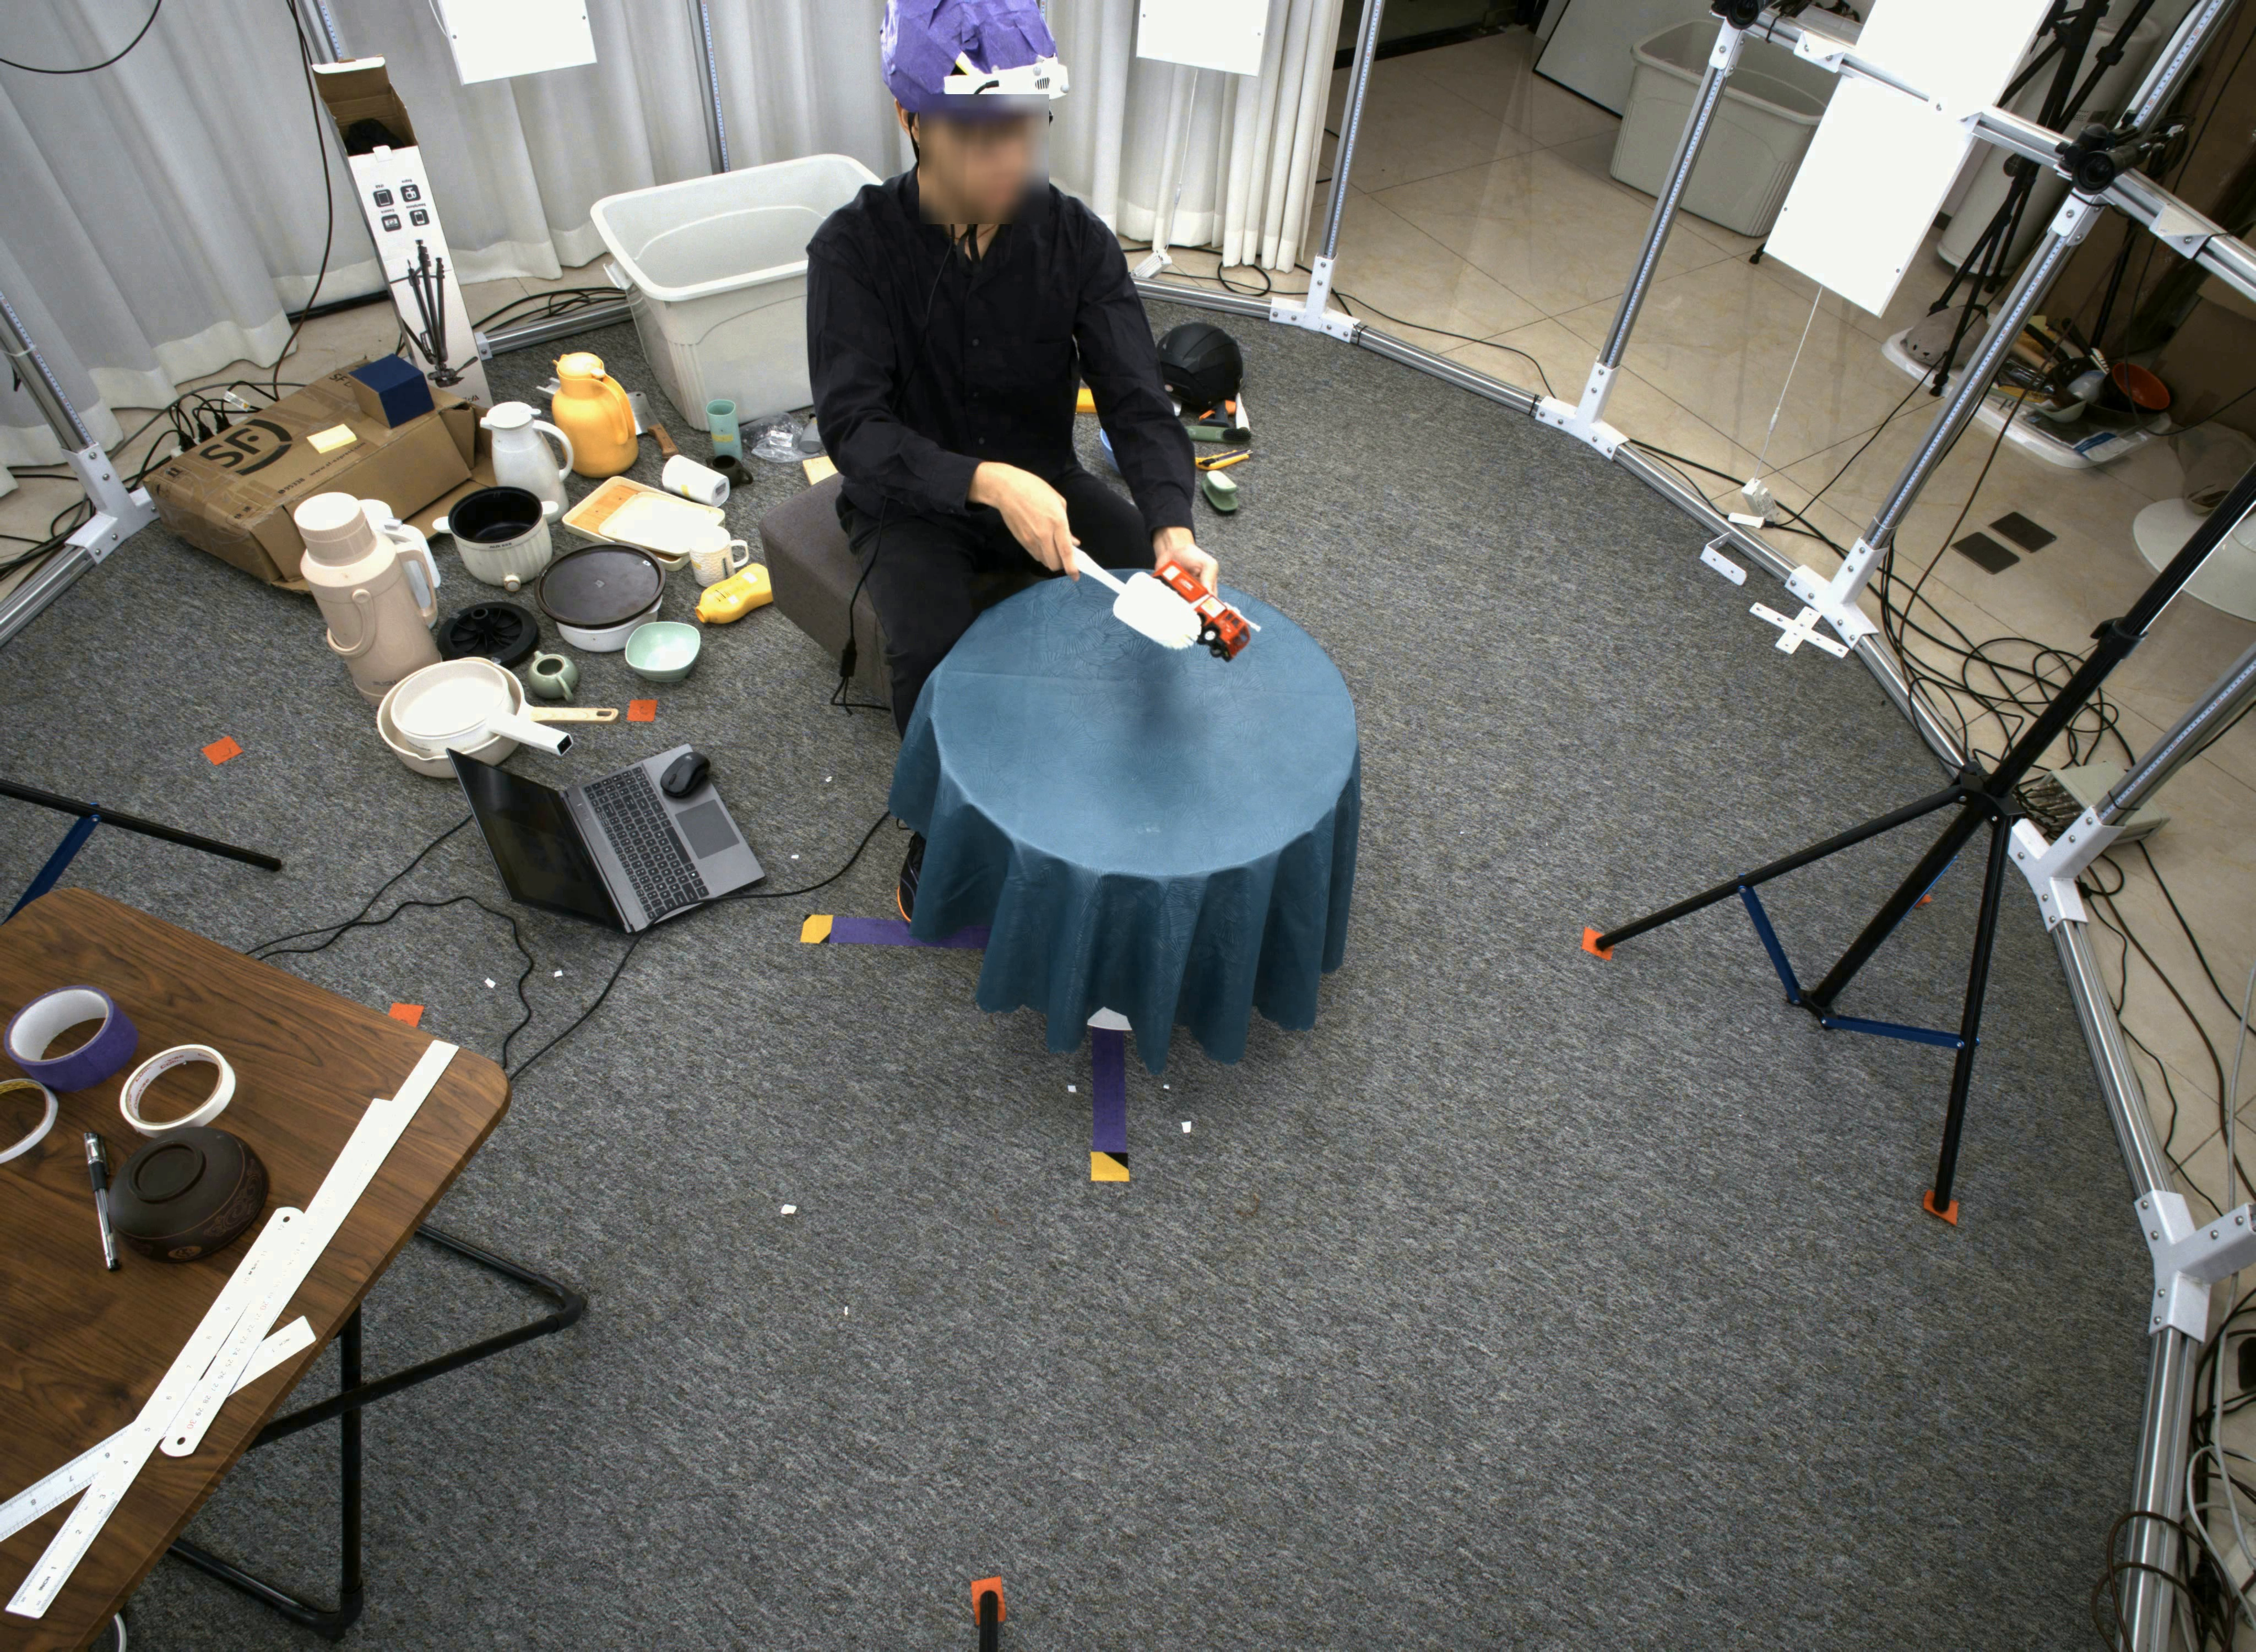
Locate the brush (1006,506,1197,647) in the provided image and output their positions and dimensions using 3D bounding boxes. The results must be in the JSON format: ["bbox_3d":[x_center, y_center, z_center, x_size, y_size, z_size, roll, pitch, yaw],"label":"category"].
[{"bbox_3d":[-0.030,-0.336,1.710,0.330,0.082,0.084,38,64,25],"label":"brush"}]

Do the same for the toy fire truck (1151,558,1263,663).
[{"bbox_3d":[0.097,-0.282,1.681,0.070,0.053,0.171,-41,59,-6],"label":"toy fire truck"}]
